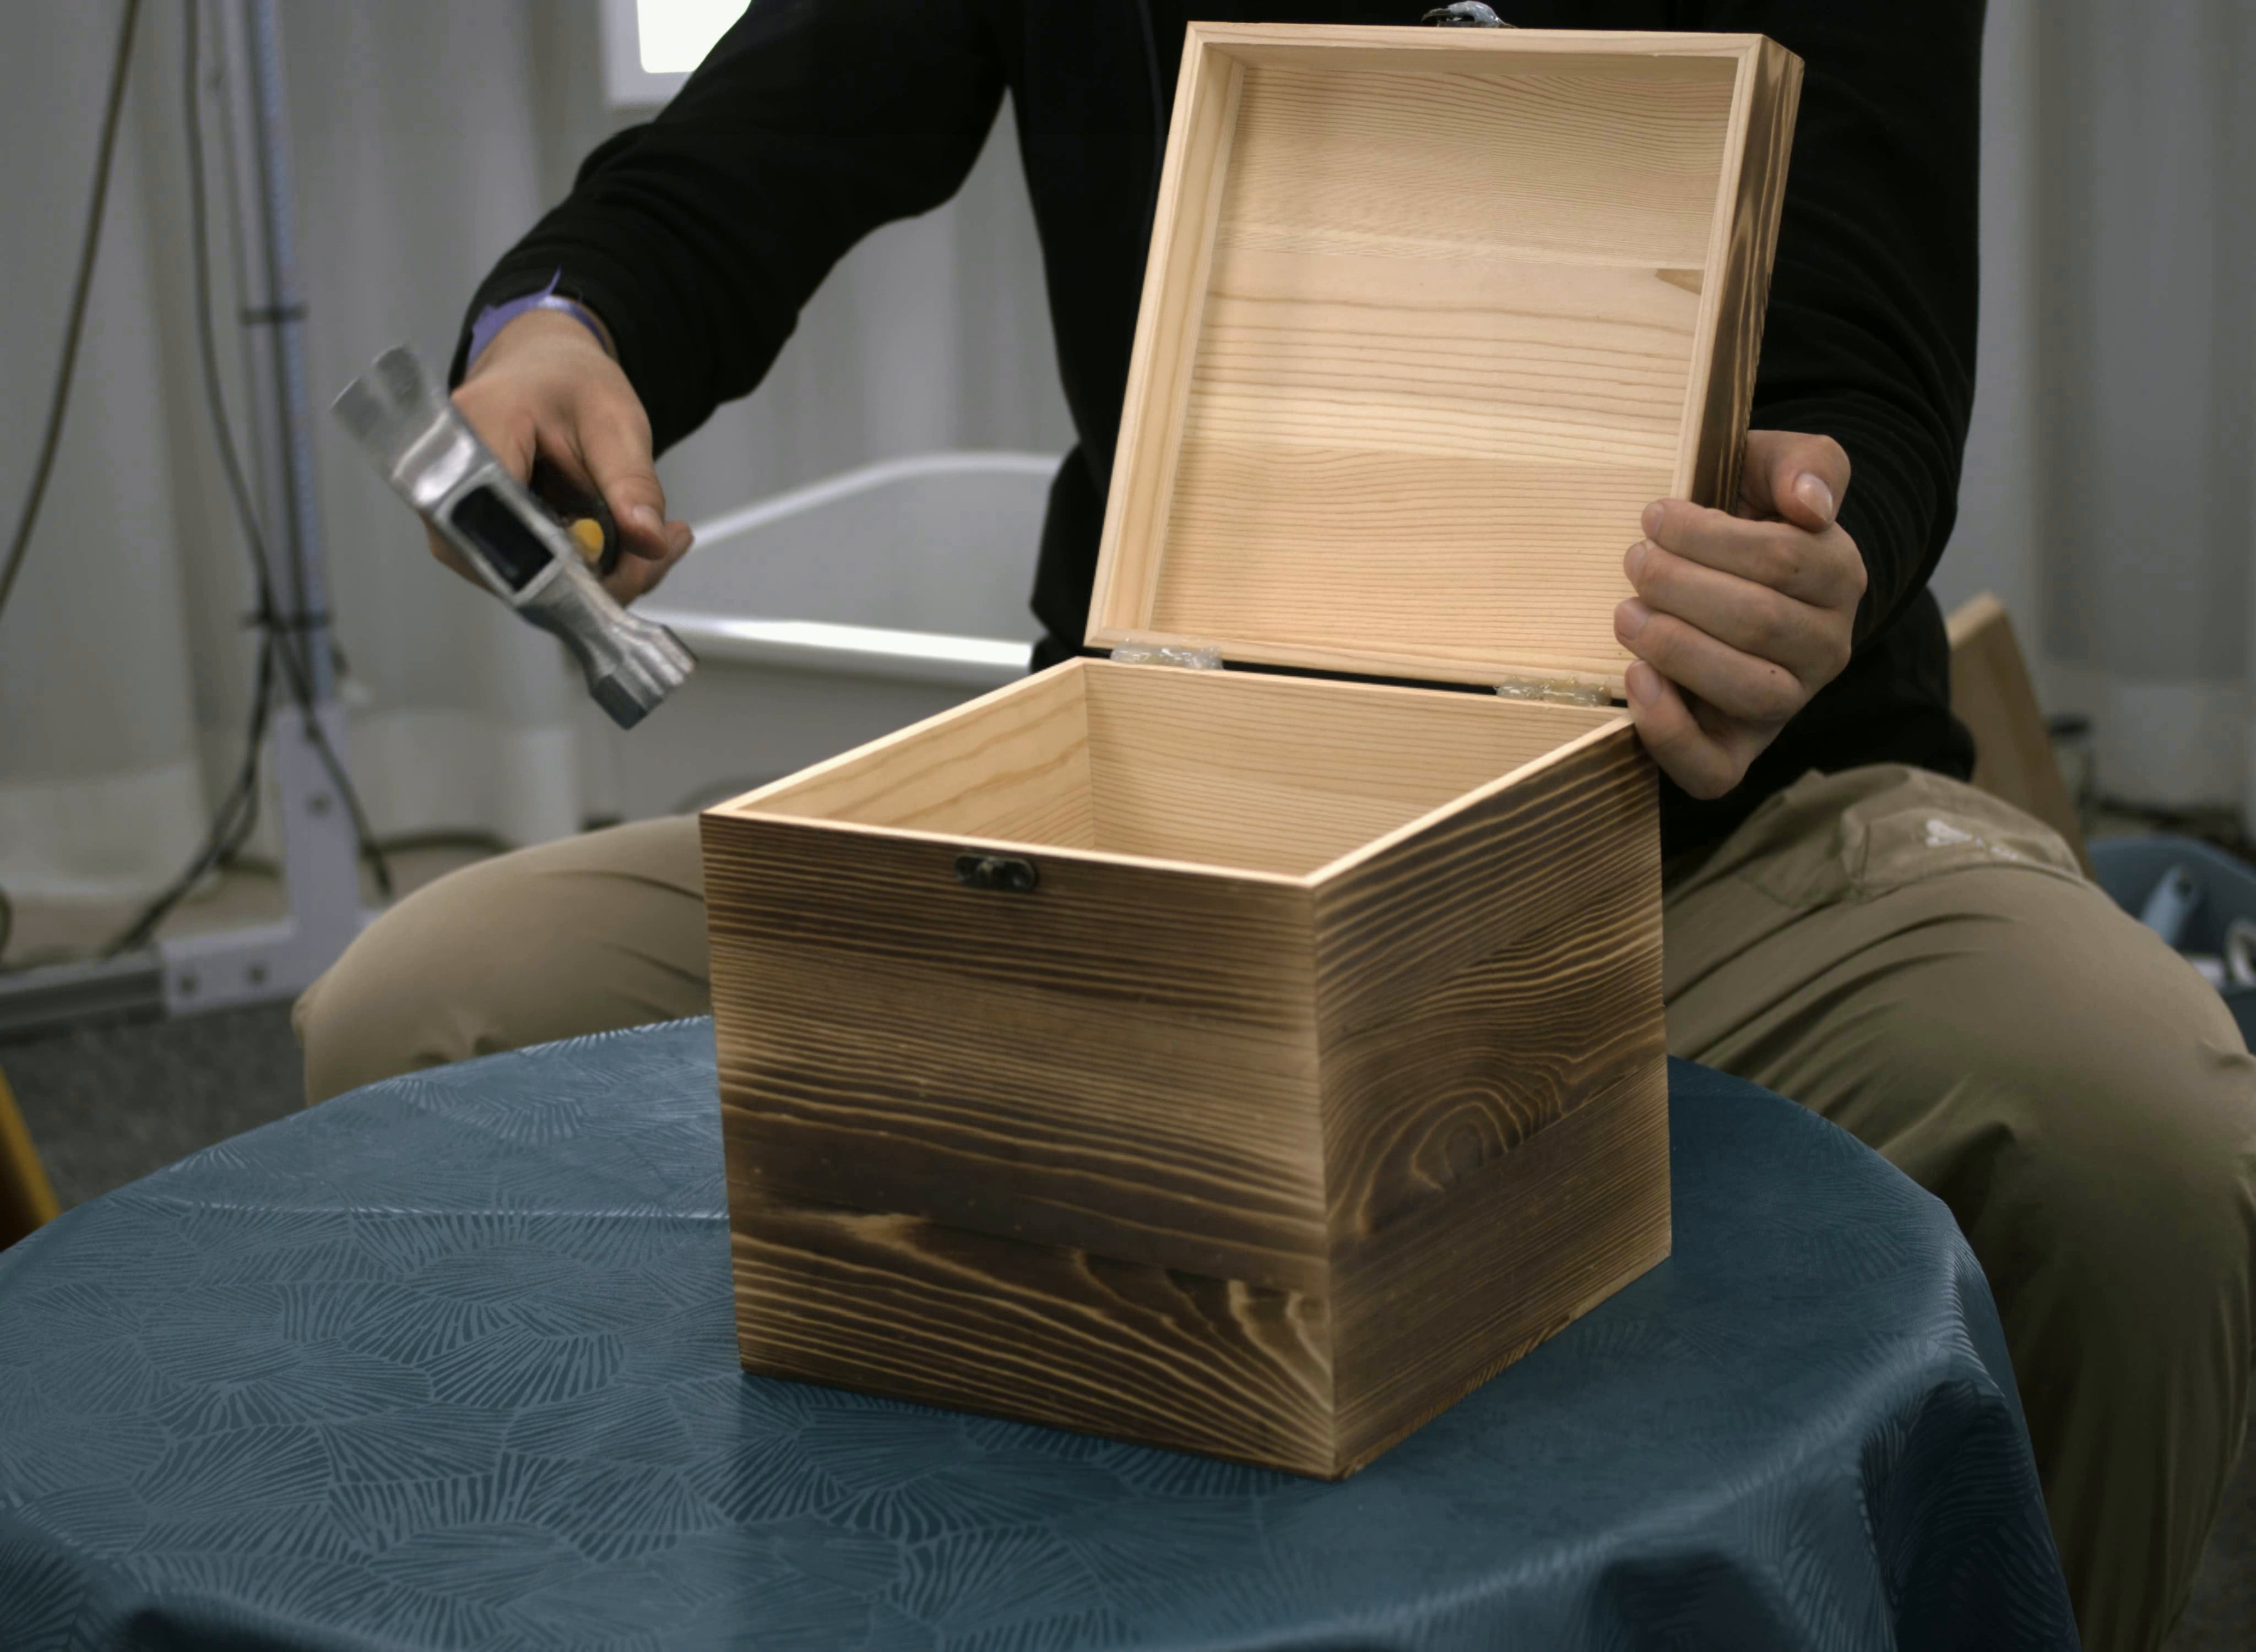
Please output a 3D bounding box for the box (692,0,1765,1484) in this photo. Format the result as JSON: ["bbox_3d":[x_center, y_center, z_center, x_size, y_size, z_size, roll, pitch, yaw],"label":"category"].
[{"bbox_3d":[0.041,-0.045,1.600,0.209,0.374,0.322,6,17,32],"label":"box"}]

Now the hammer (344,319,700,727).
[{"bbox_3d":[-0.176,-0.098,1.716,0.032,0.131,0.339,-41,3,3],"label":"hammer"}]
